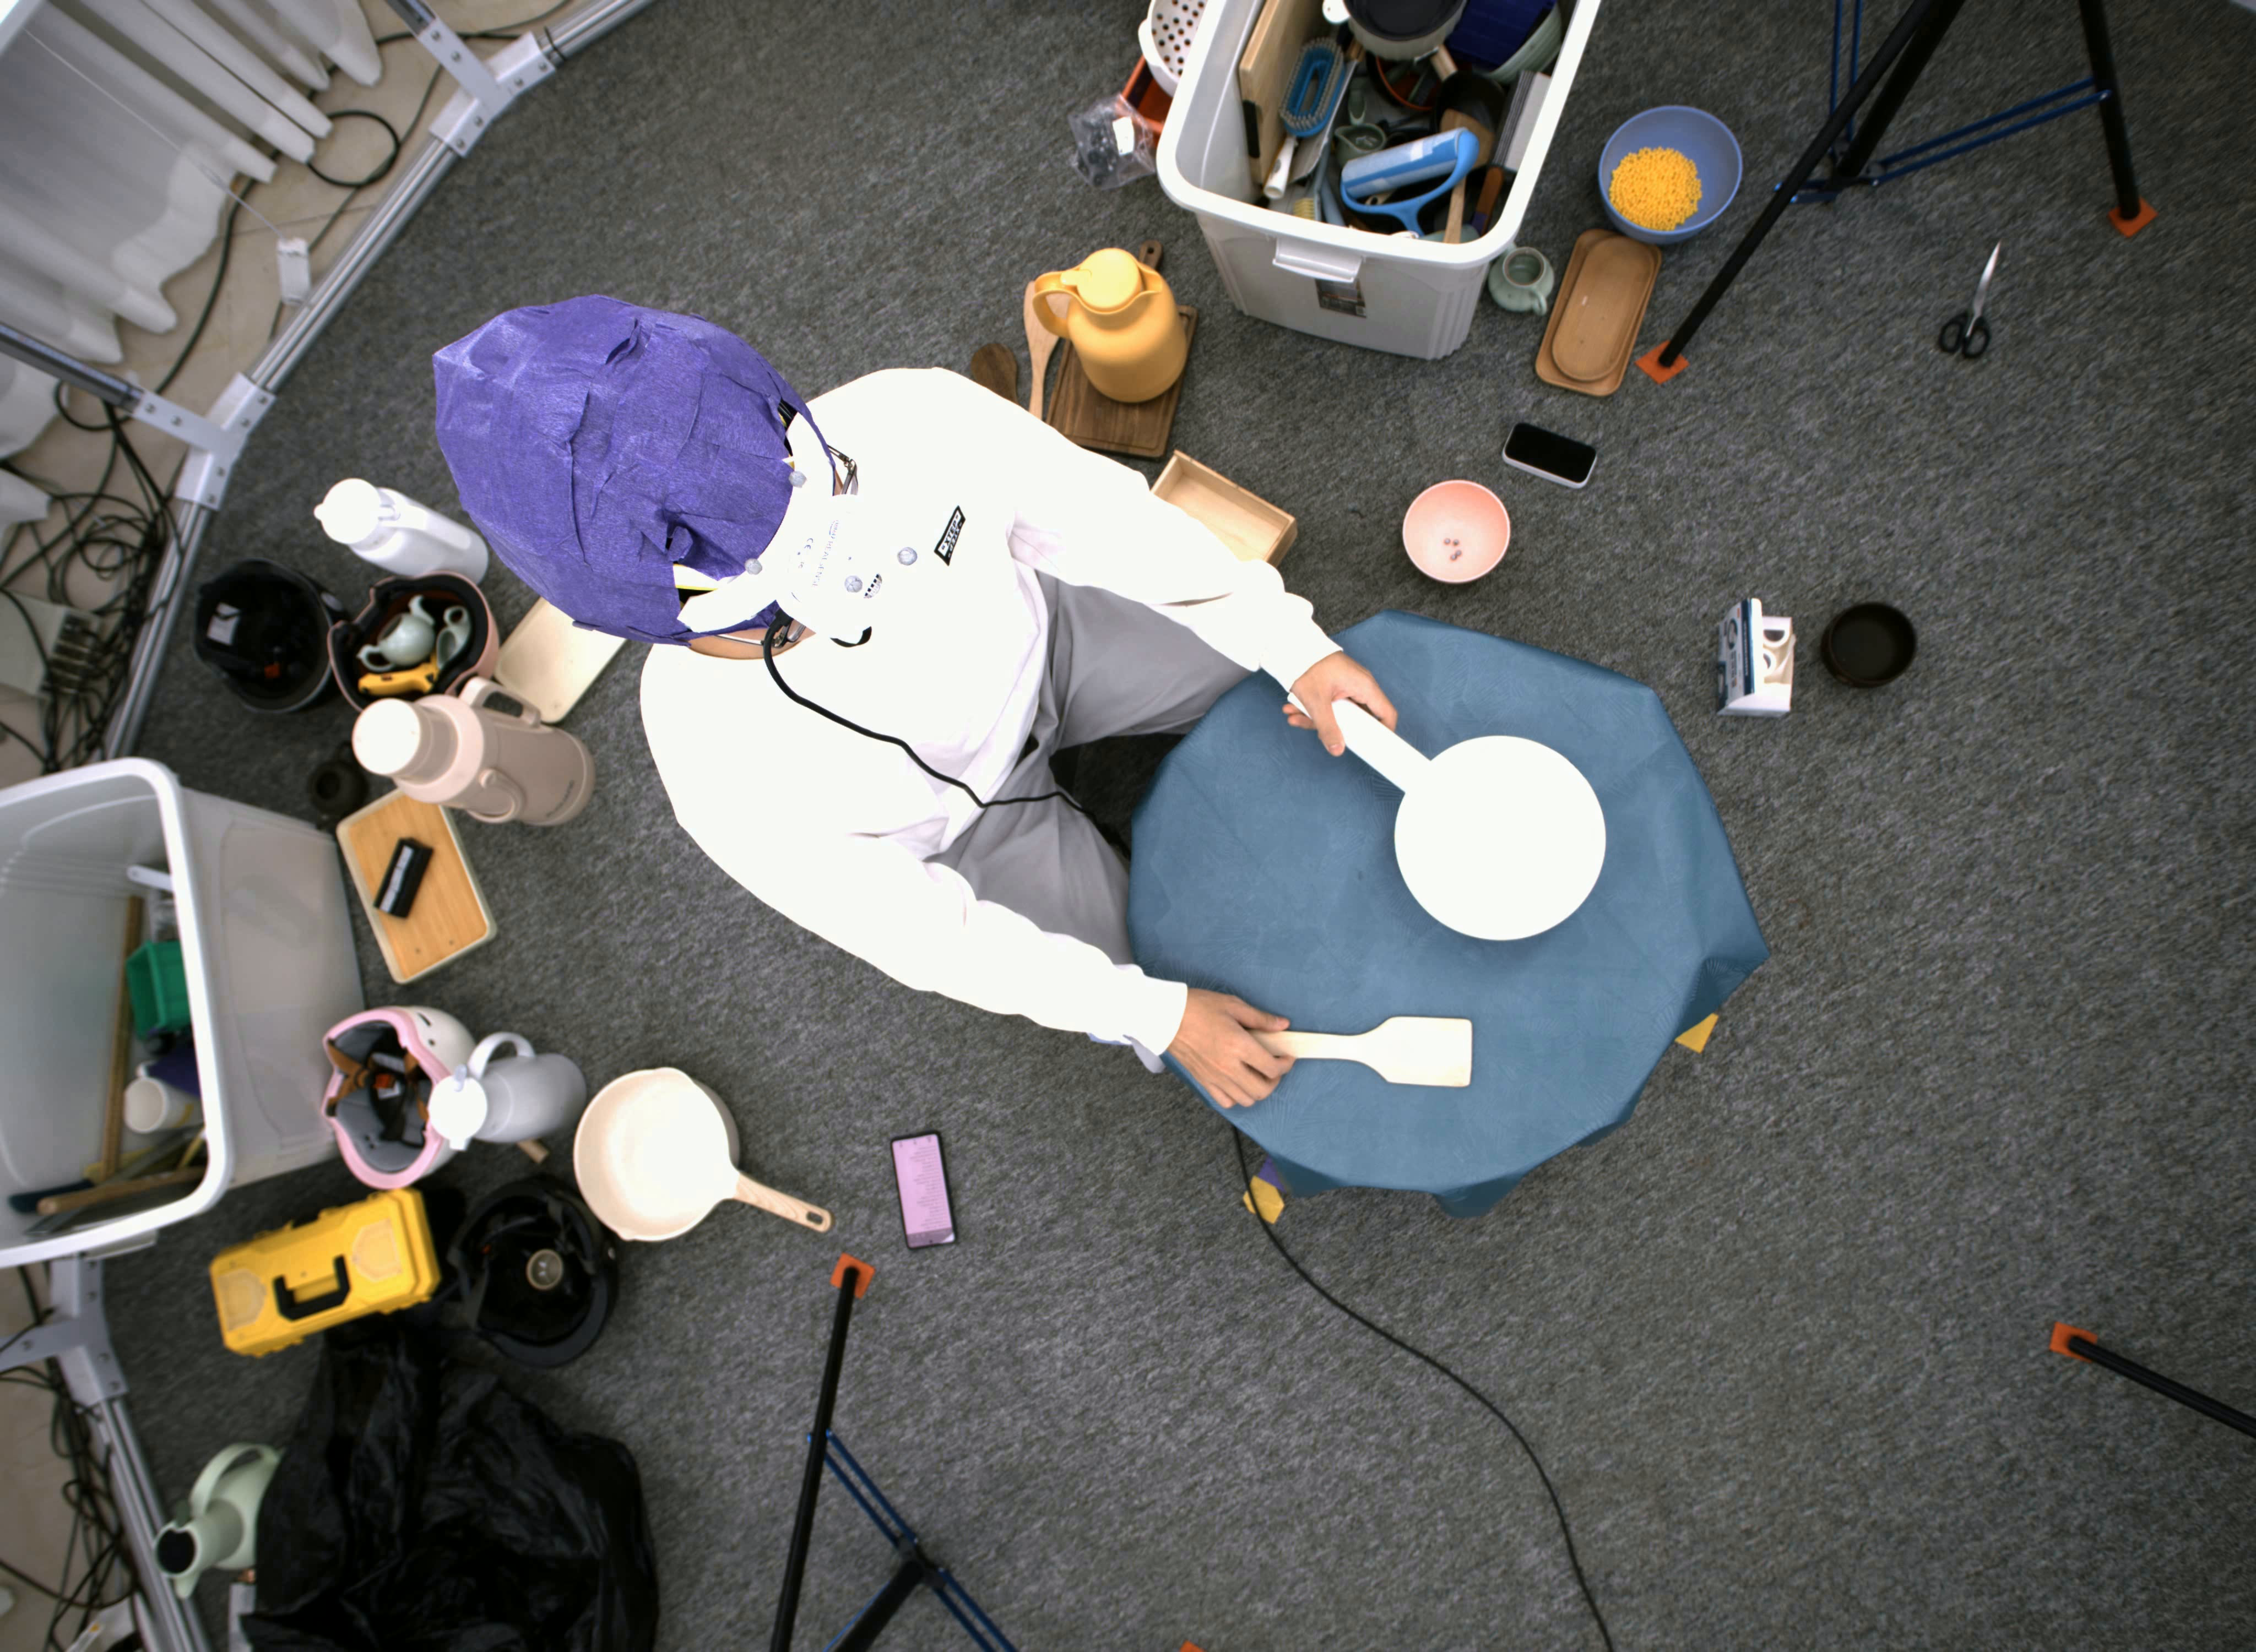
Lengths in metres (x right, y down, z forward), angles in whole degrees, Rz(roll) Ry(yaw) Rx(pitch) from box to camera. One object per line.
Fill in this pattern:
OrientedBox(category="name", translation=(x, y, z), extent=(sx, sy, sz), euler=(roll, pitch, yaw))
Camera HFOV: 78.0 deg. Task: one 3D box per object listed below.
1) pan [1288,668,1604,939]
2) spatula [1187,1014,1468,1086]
OrientedBox(category="pan", translation=(0.315, -0.034, 1.409), extent=(0.353, 0.102, 0.202), euler=(39, 95, 13))
OrientedBox(category="spatula", translation=(0.207, 0.229, 1.456), extent=(0.294, 0.010, 0.072), euler=(2, 88, 9))
